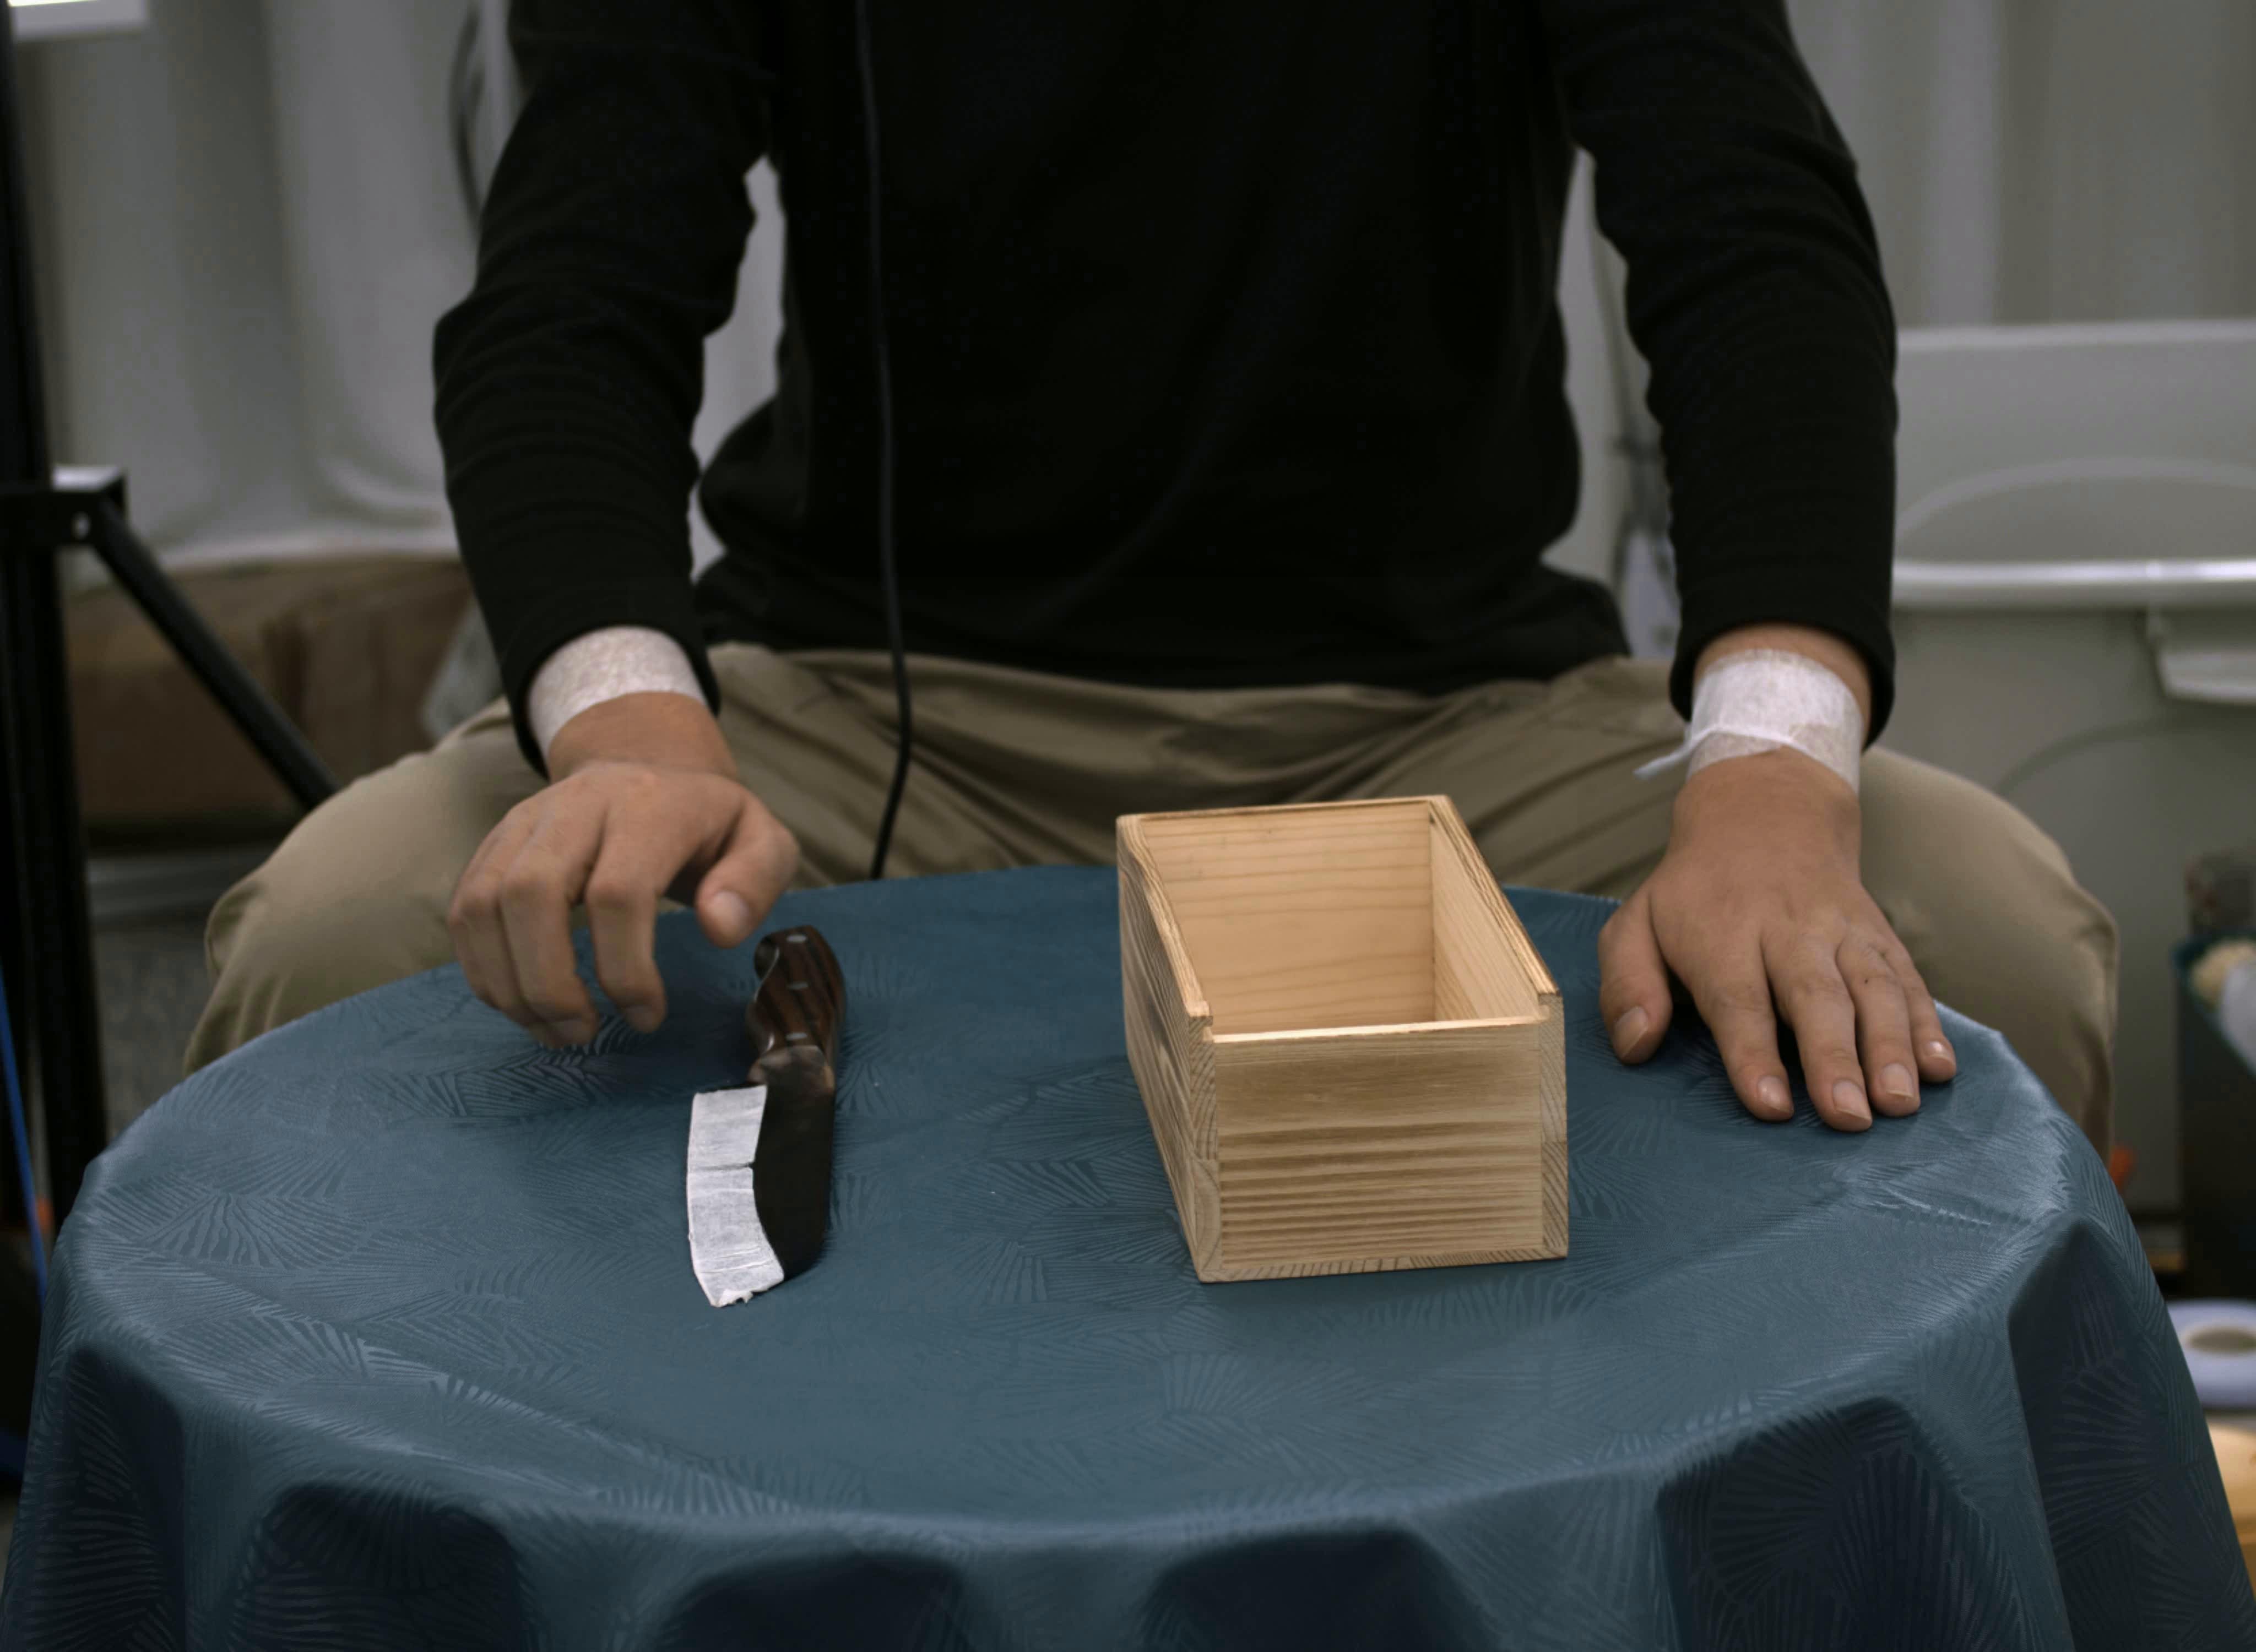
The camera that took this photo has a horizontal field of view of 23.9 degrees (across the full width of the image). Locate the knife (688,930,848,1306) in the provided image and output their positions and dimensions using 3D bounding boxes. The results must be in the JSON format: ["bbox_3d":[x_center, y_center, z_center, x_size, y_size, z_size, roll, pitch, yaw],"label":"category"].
[{"bbox_3d":[-0.108,0.088,1.619,0.050,0.020,0.290,-7,18,3],"label":"knife"}]

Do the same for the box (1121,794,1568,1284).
[{"bbox_3d":[0.061,0.059,1.574,0.106,0.080,0.213,-3,16,-5],"label":"box"}]
